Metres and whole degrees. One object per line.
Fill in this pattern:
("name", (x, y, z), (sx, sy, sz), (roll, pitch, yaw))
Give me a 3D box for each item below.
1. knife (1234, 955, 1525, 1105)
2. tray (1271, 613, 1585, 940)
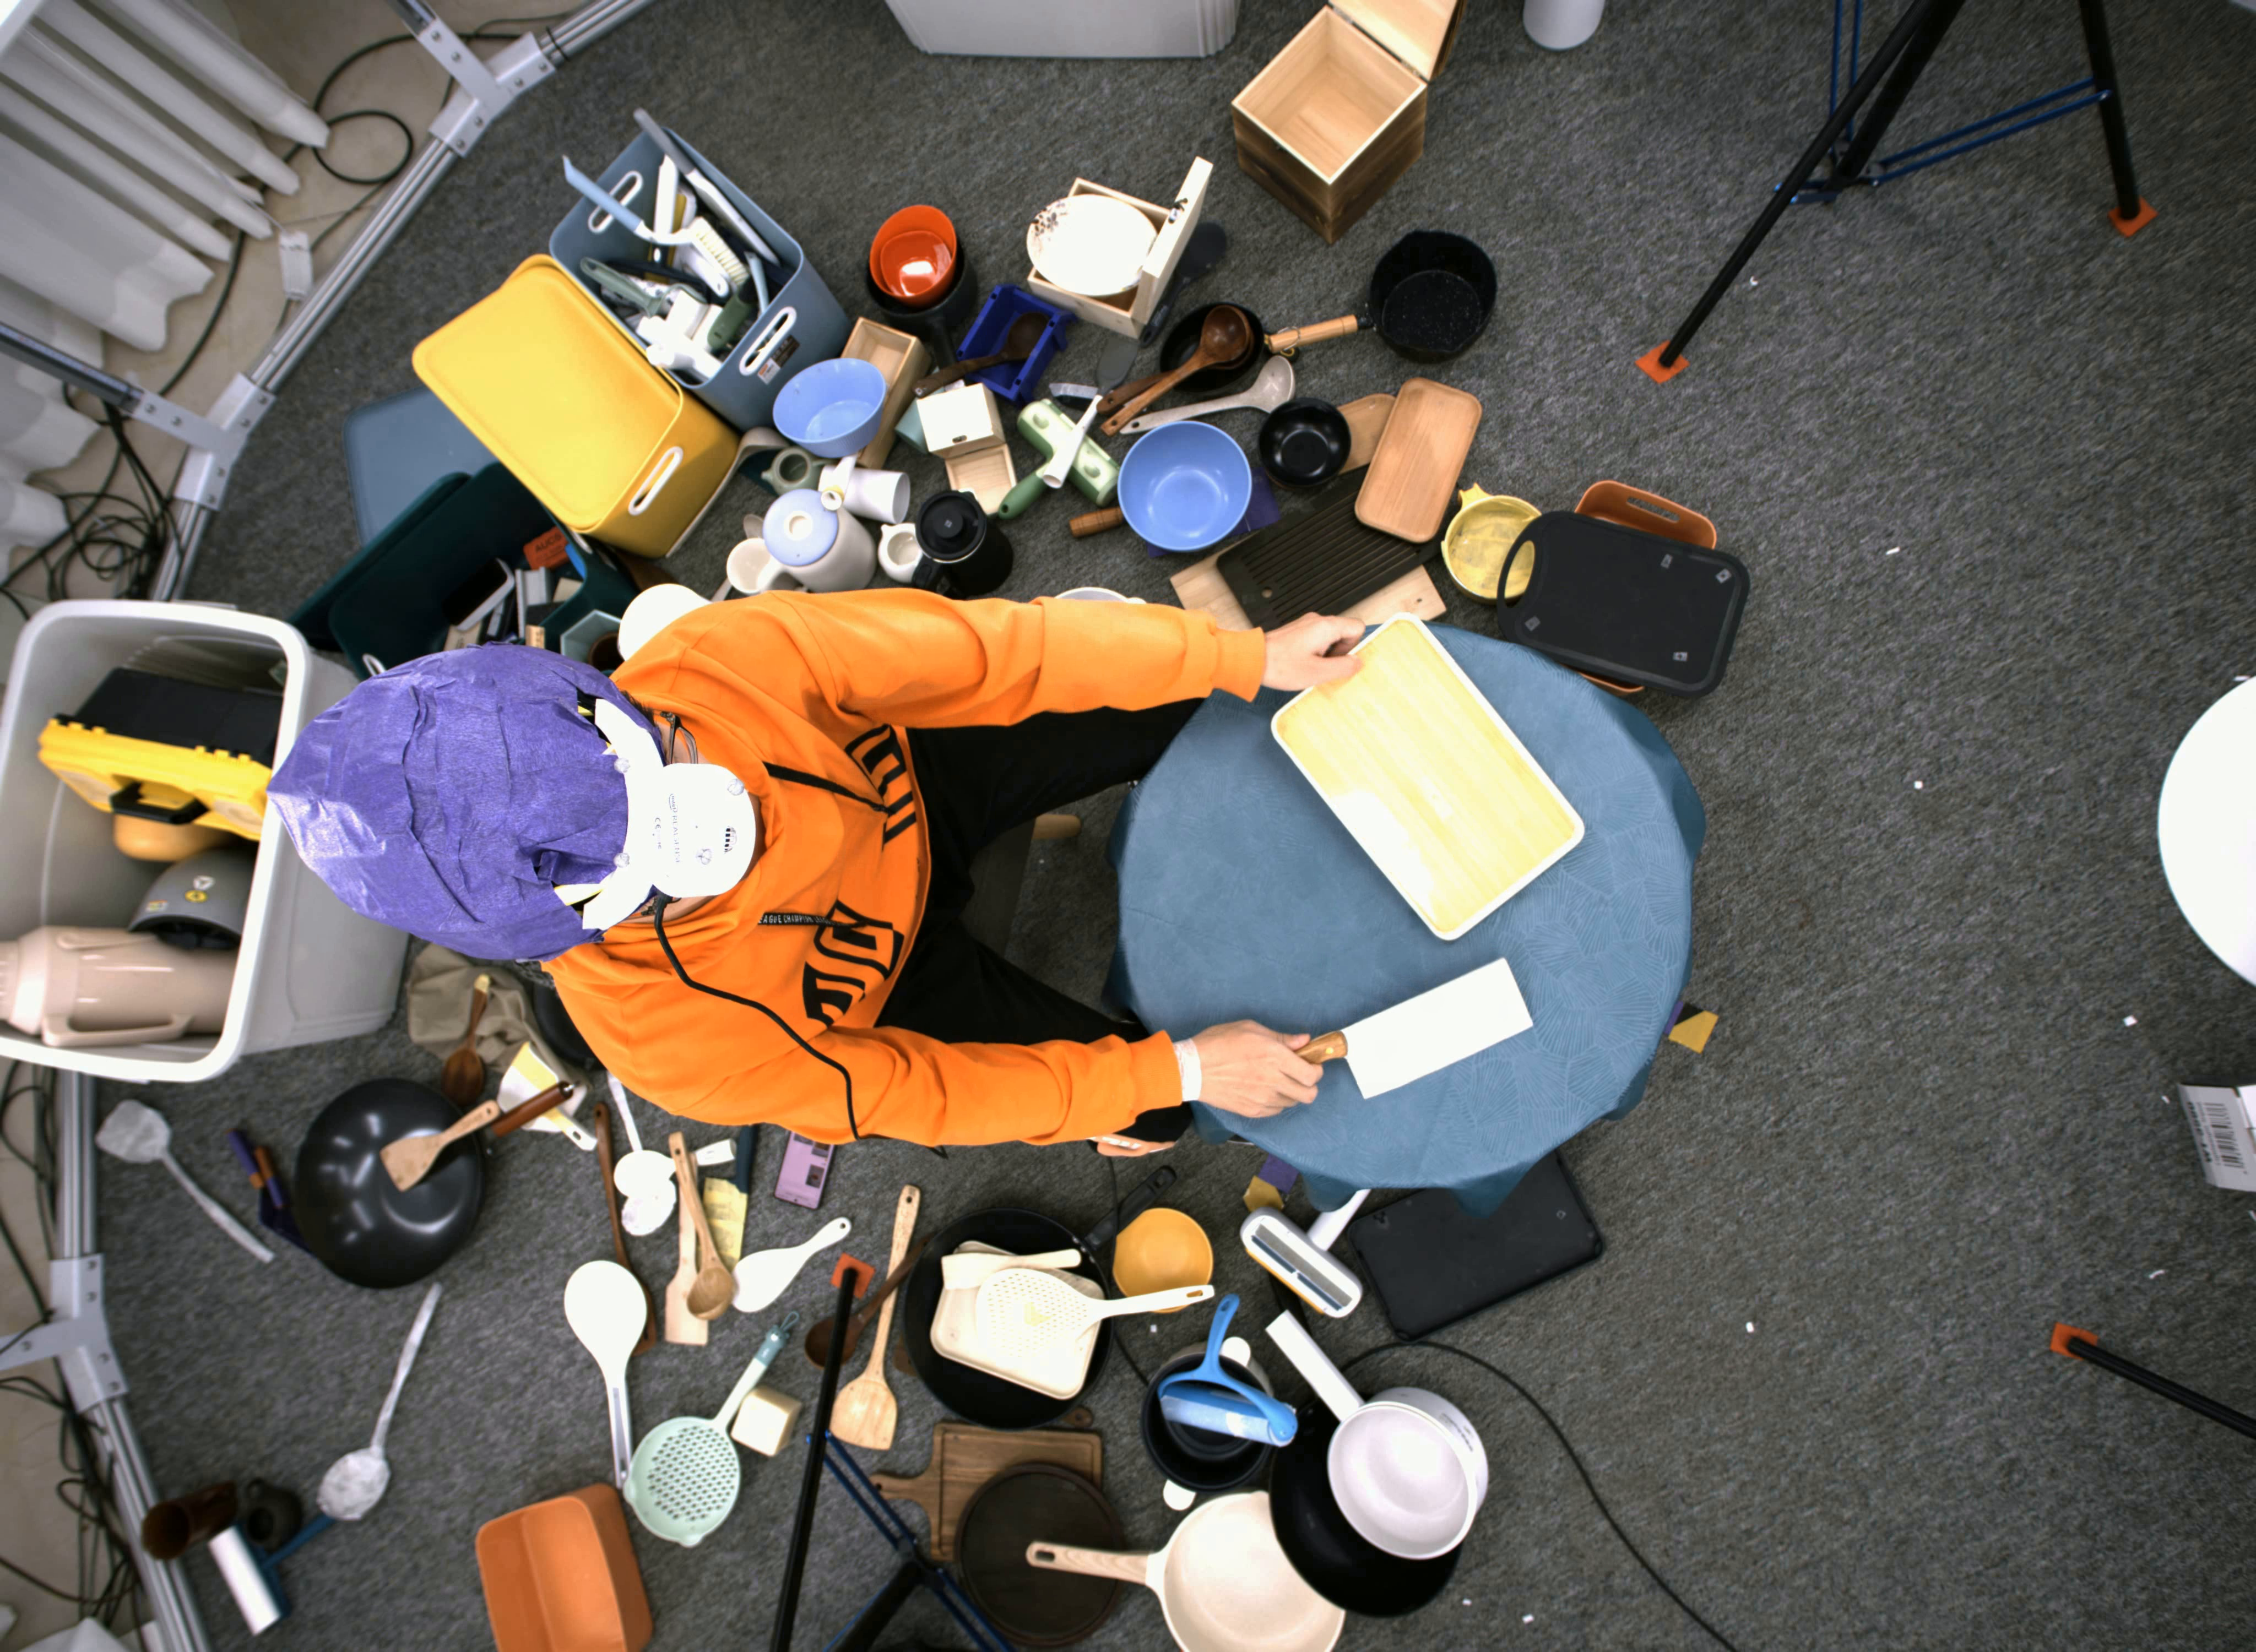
("knife", (0.263, 0.230, 1.430), (0.308, 0.020, 0.094), (-26, 110, 9))
("tray", (0.308, -0.052, 1.417), (0.193, 0.027, 0.300), (-39, 92, 8))
